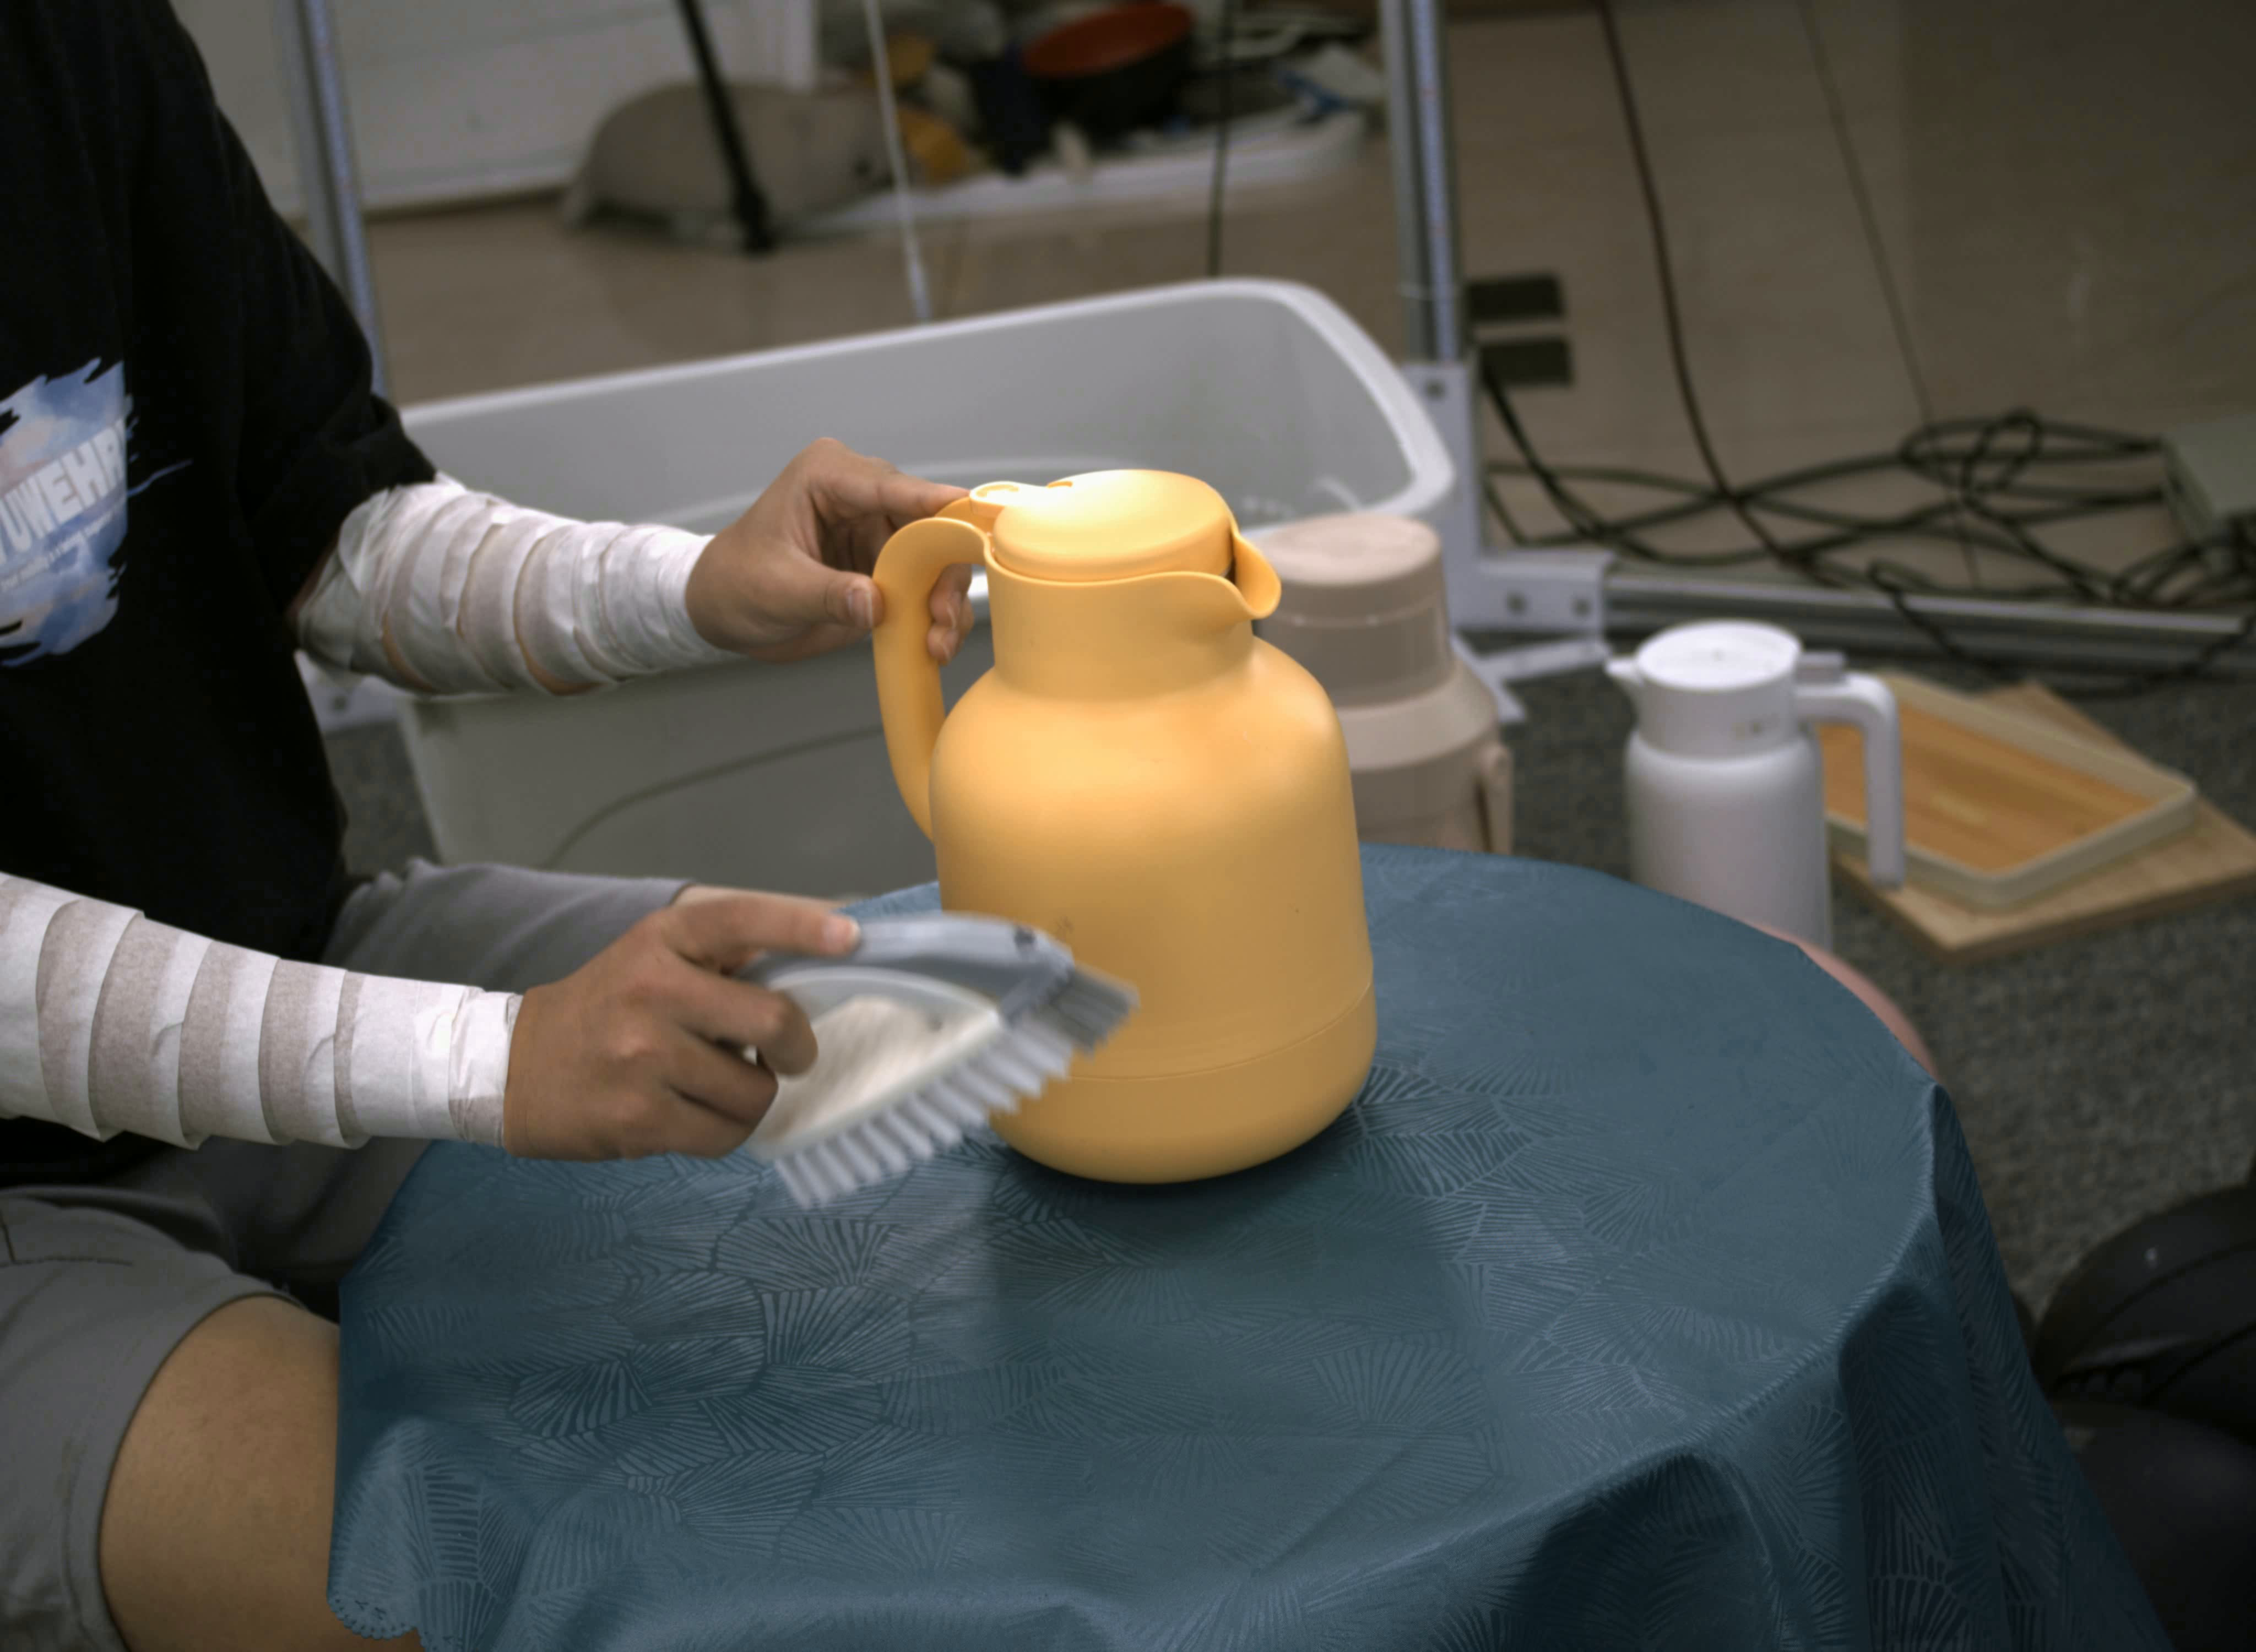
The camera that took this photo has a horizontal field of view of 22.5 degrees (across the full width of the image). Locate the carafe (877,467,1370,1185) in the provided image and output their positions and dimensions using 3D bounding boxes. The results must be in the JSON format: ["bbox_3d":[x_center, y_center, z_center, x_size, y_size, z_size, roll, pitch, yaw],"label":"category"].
[{"bbox_3d":[-0.008,-0.009,2.157,0.201,0.264,0.162,18,34,40],"label":"carafe"}]

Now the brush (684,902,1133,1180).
[{"bbox_3d":[-0.087,0.061,2.021,0.176,0.095,0.060,-26,41,39],"label":"brush"}]
